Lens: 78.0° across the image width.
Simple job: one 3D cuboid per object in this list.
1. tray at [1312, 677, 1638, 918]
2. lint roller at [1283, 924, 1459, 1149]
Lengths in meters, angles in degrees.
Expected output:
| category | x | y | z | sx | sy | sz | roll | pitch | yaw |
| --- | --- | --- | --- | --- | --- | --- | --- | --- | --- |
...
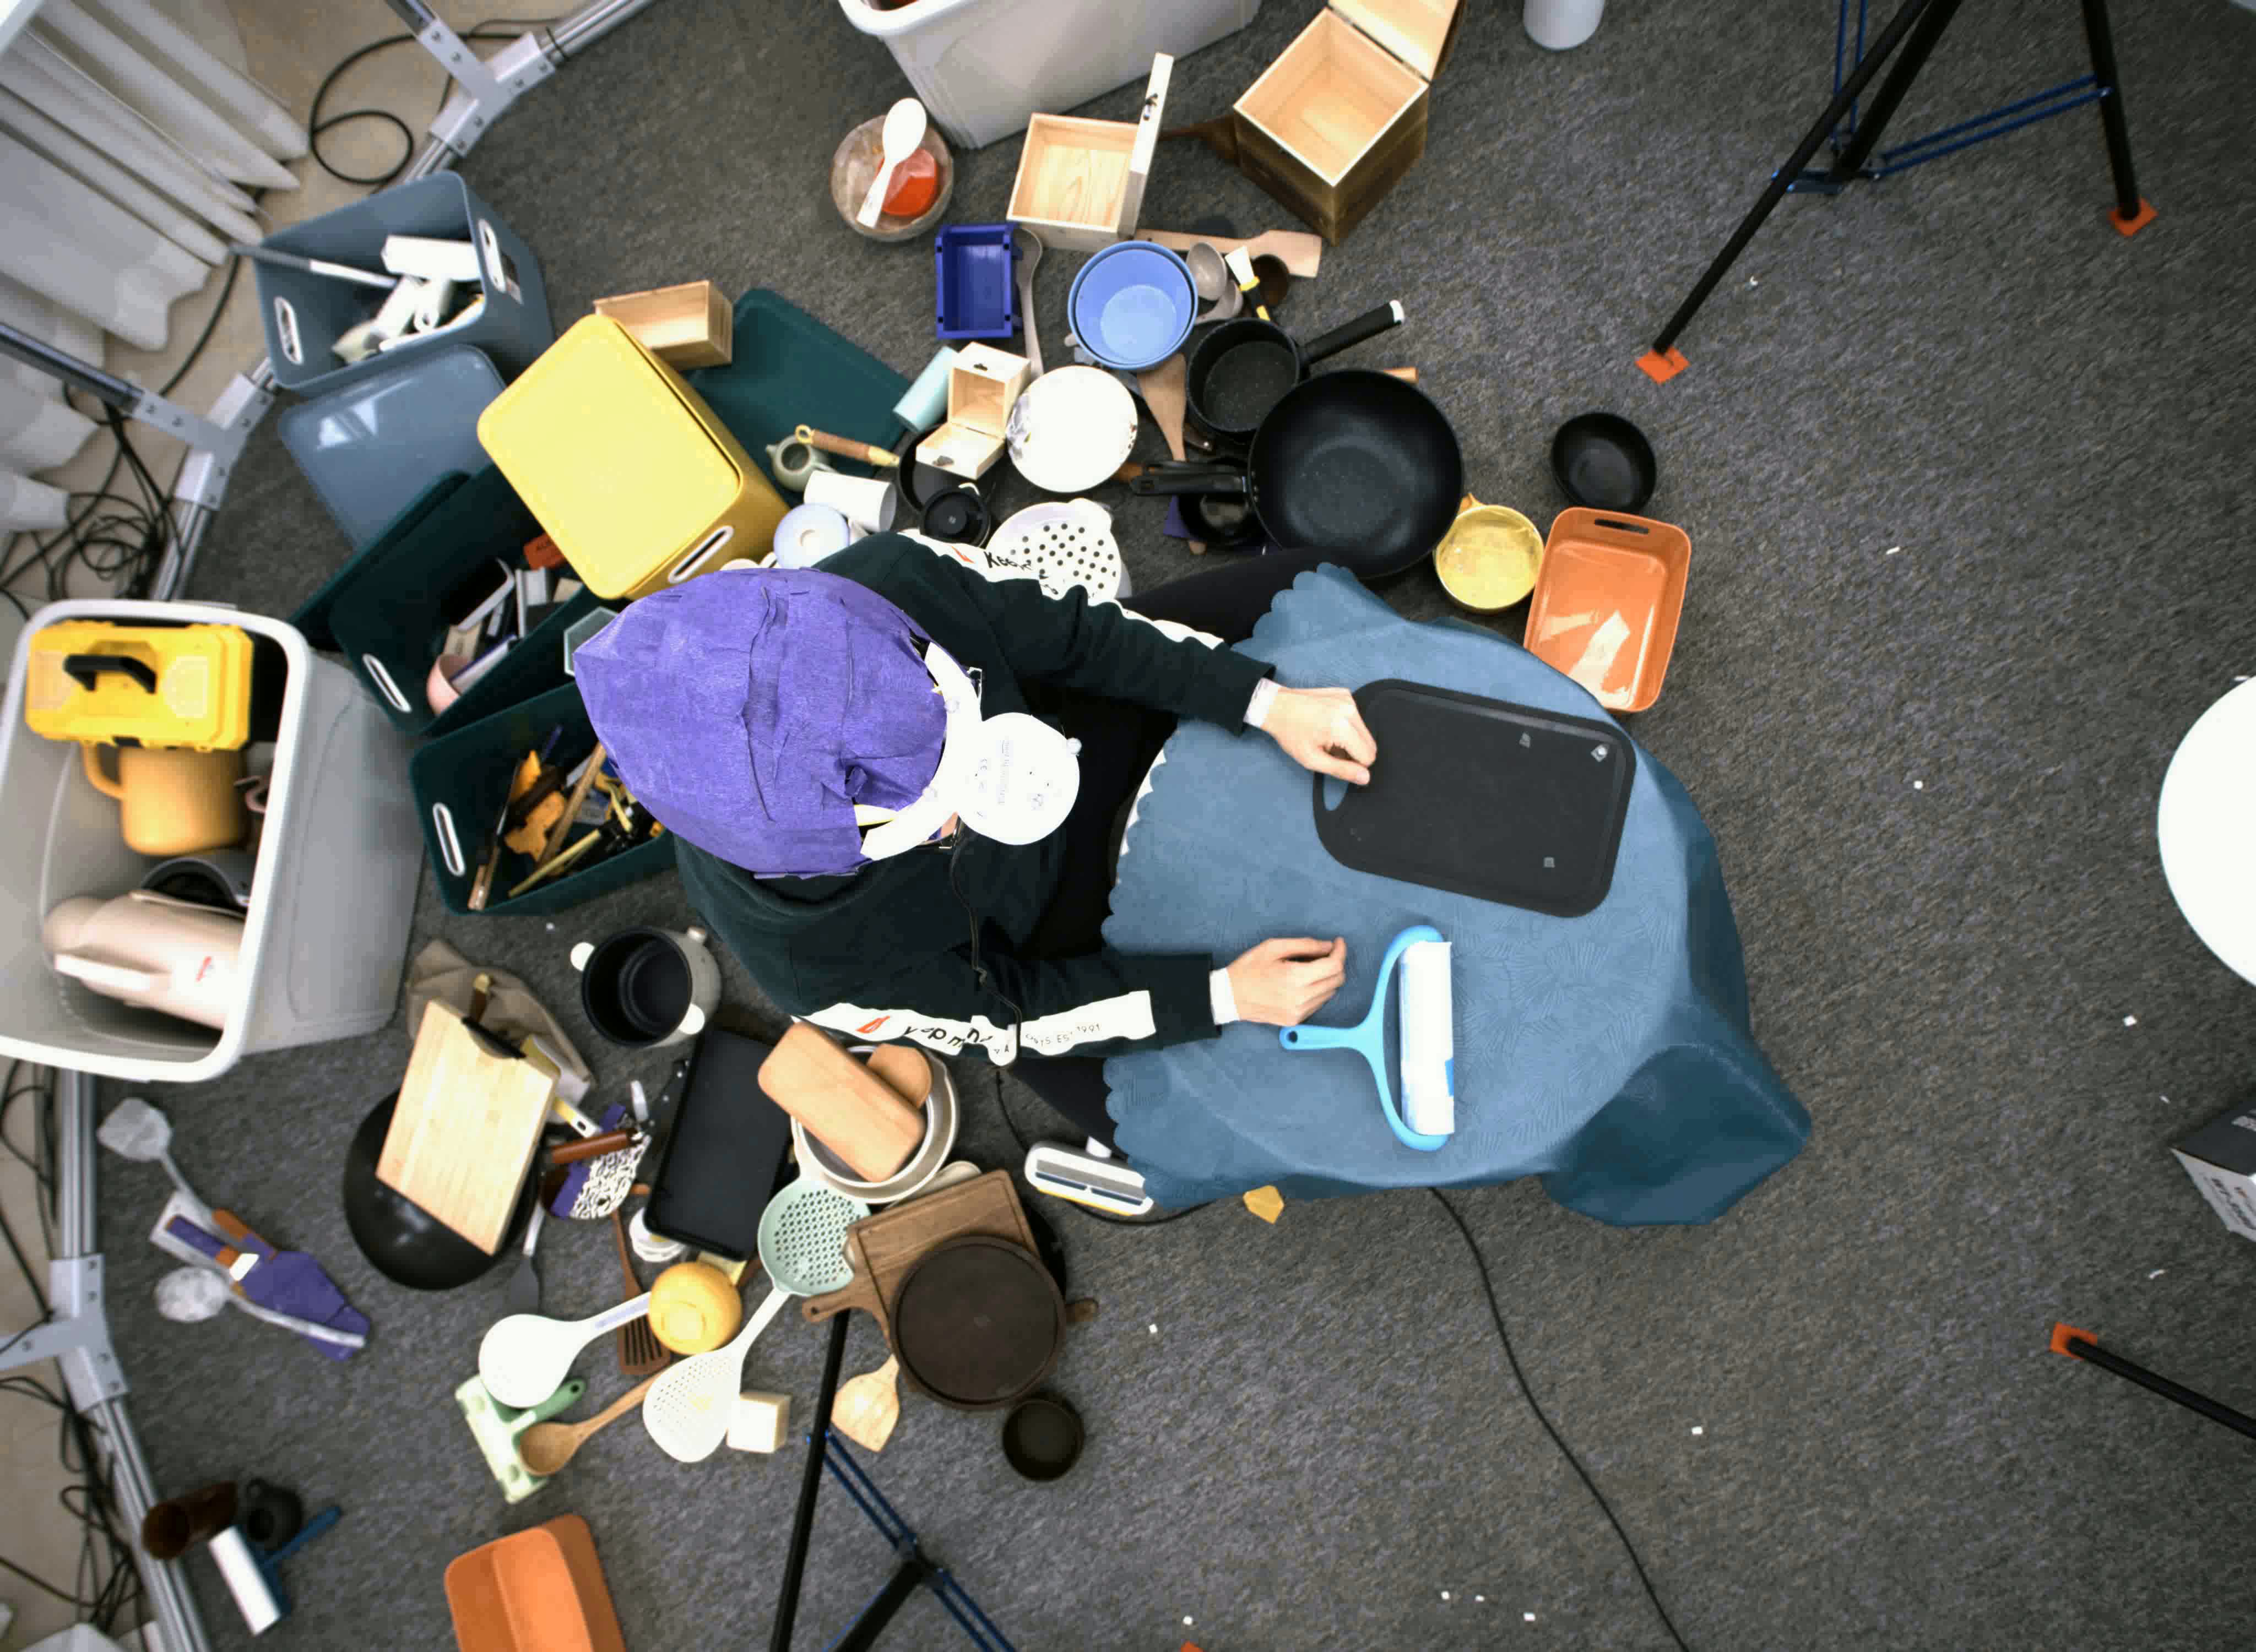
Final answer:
| category | x | y | z | sx | sy | sz | roll | pitch | yaw |
| --- | --- | --- | --- | --- | --- | --- | --- | --- | --- |
| tray | 0.356 | -0.036 | 1.441 | 0.326 | 0.010 | 0.211 | 14 | 90 | 11 |
| lint roller | 0.249 | 0.218 | 1.423 | 0.181 | 0.068 | 0.228 | -4 | 88 | 9 |
